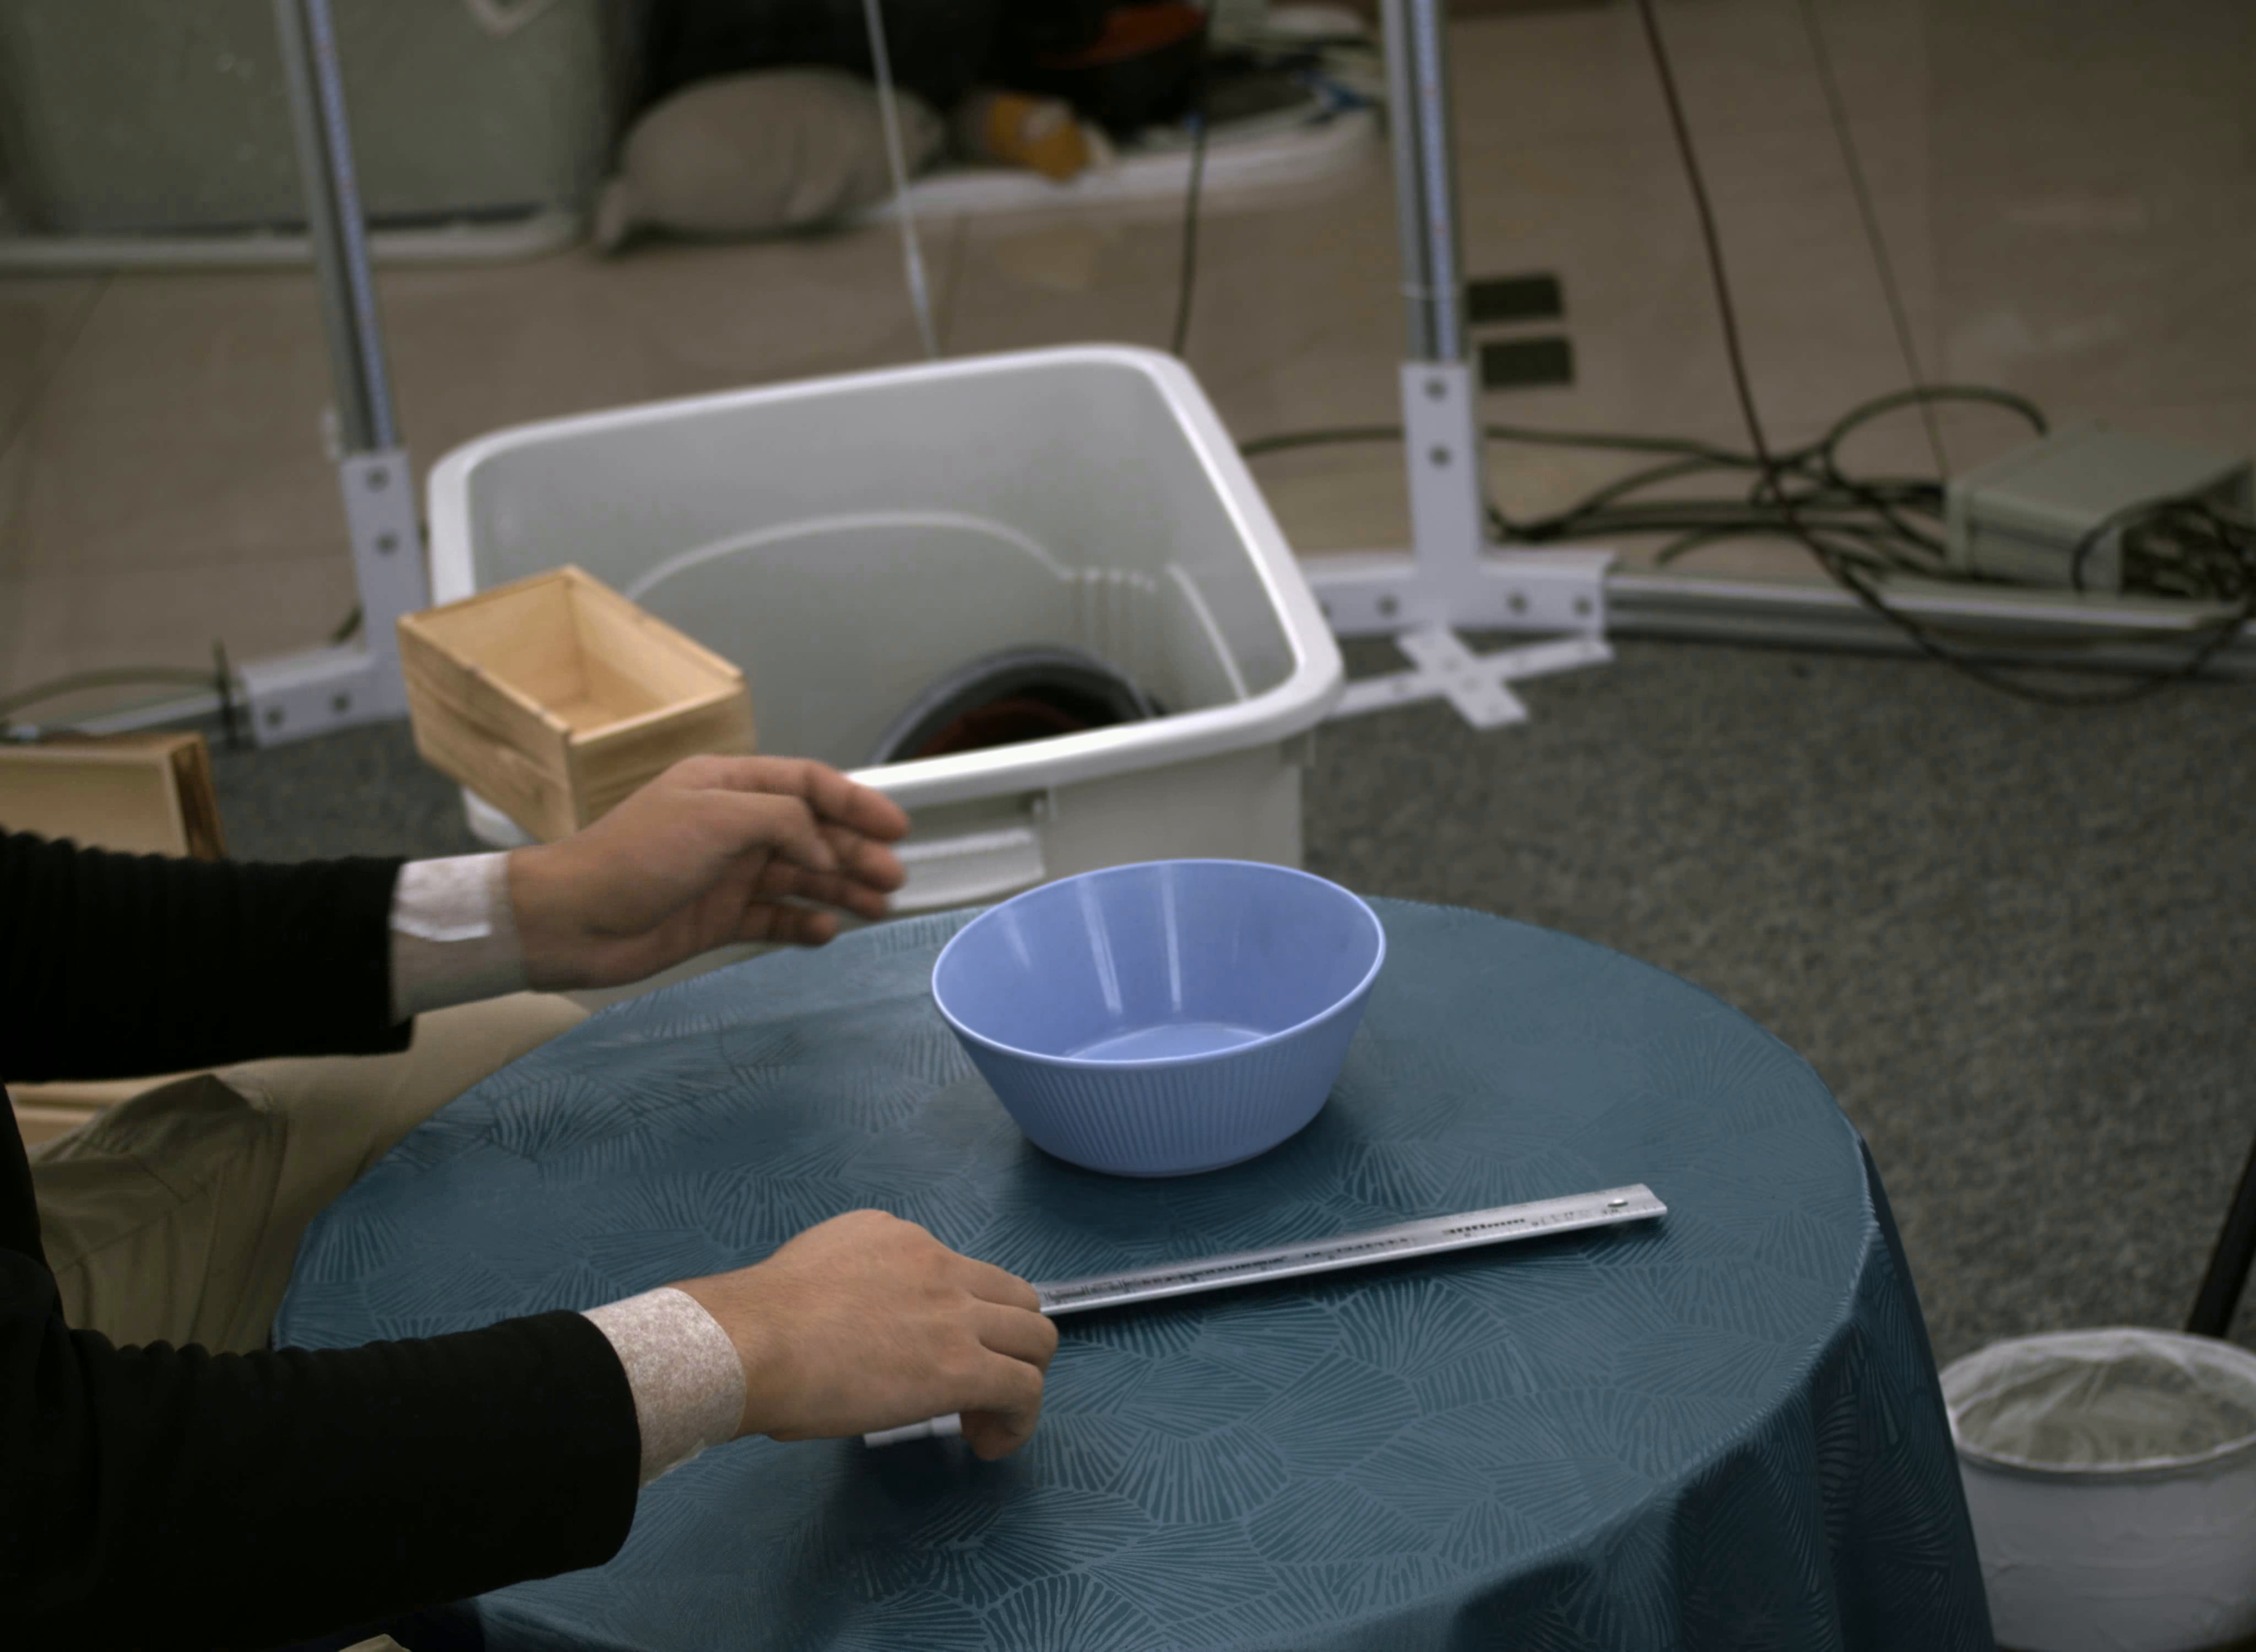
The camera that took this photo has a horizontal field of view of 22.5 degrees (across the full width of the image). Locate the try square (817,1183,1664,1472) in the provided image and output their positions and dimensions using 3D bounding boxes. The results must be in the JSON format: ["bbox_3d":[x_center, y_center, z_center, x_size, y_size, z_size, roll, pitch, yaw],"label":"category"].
[{"bbox_3d":[0.048,0.174,2.025,0.312,0.016,0.151,-9,15,-6],"label":"try square"}]

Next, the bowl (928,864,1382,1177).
[{"bbox_3d":[0.013,0.080,2.187,0.176,0.071,0.173,-5,25,2],"label":"bowl"}]
